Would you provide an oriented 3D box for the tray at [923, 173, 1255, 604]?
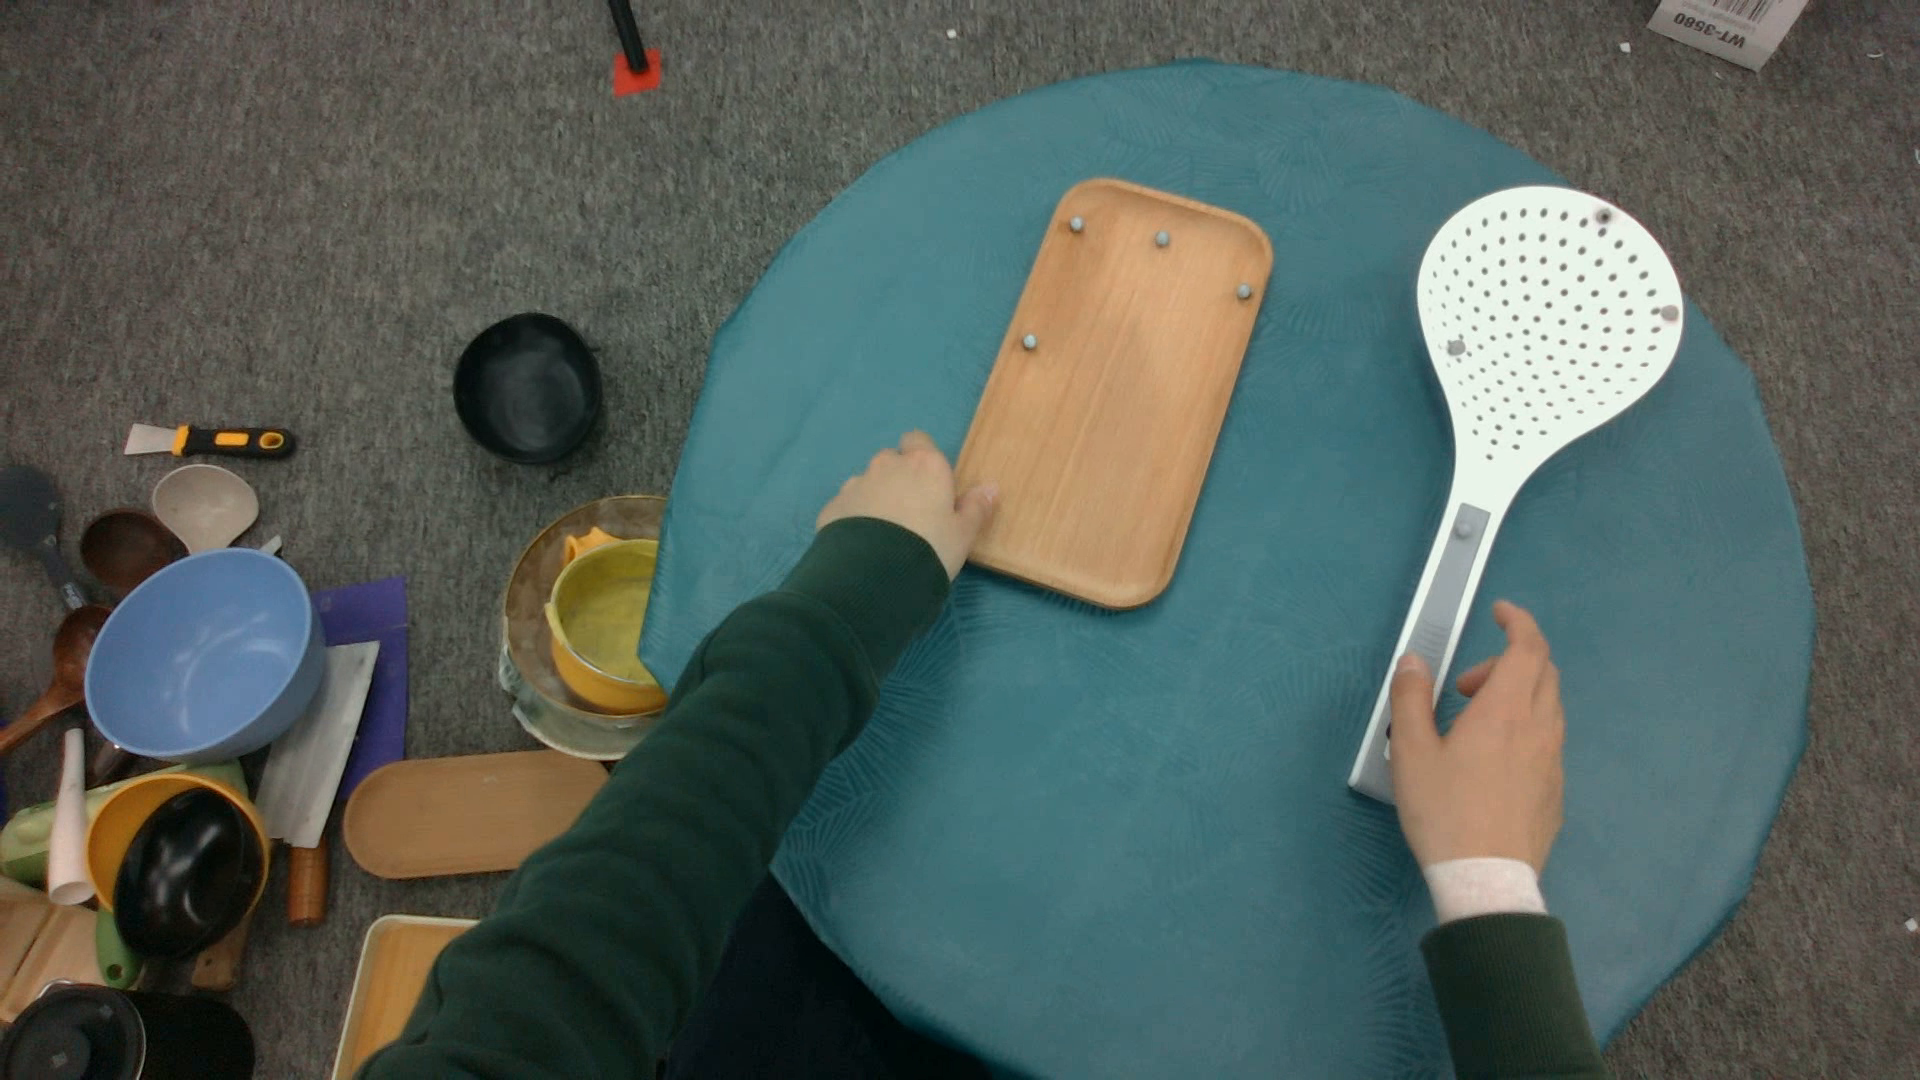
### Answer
[{"bbox_3d":[0.074,-0.088,0.753,0.130,0.023,0.251,18,69,9],"label":"tray"}]

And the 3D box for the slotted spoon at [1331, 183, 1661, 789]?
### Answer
[{"bbox_3d":[0.263,-0.035,0.717,0.136,0.045,0.351,21,70,11],"label":"slotted spoon"}]
